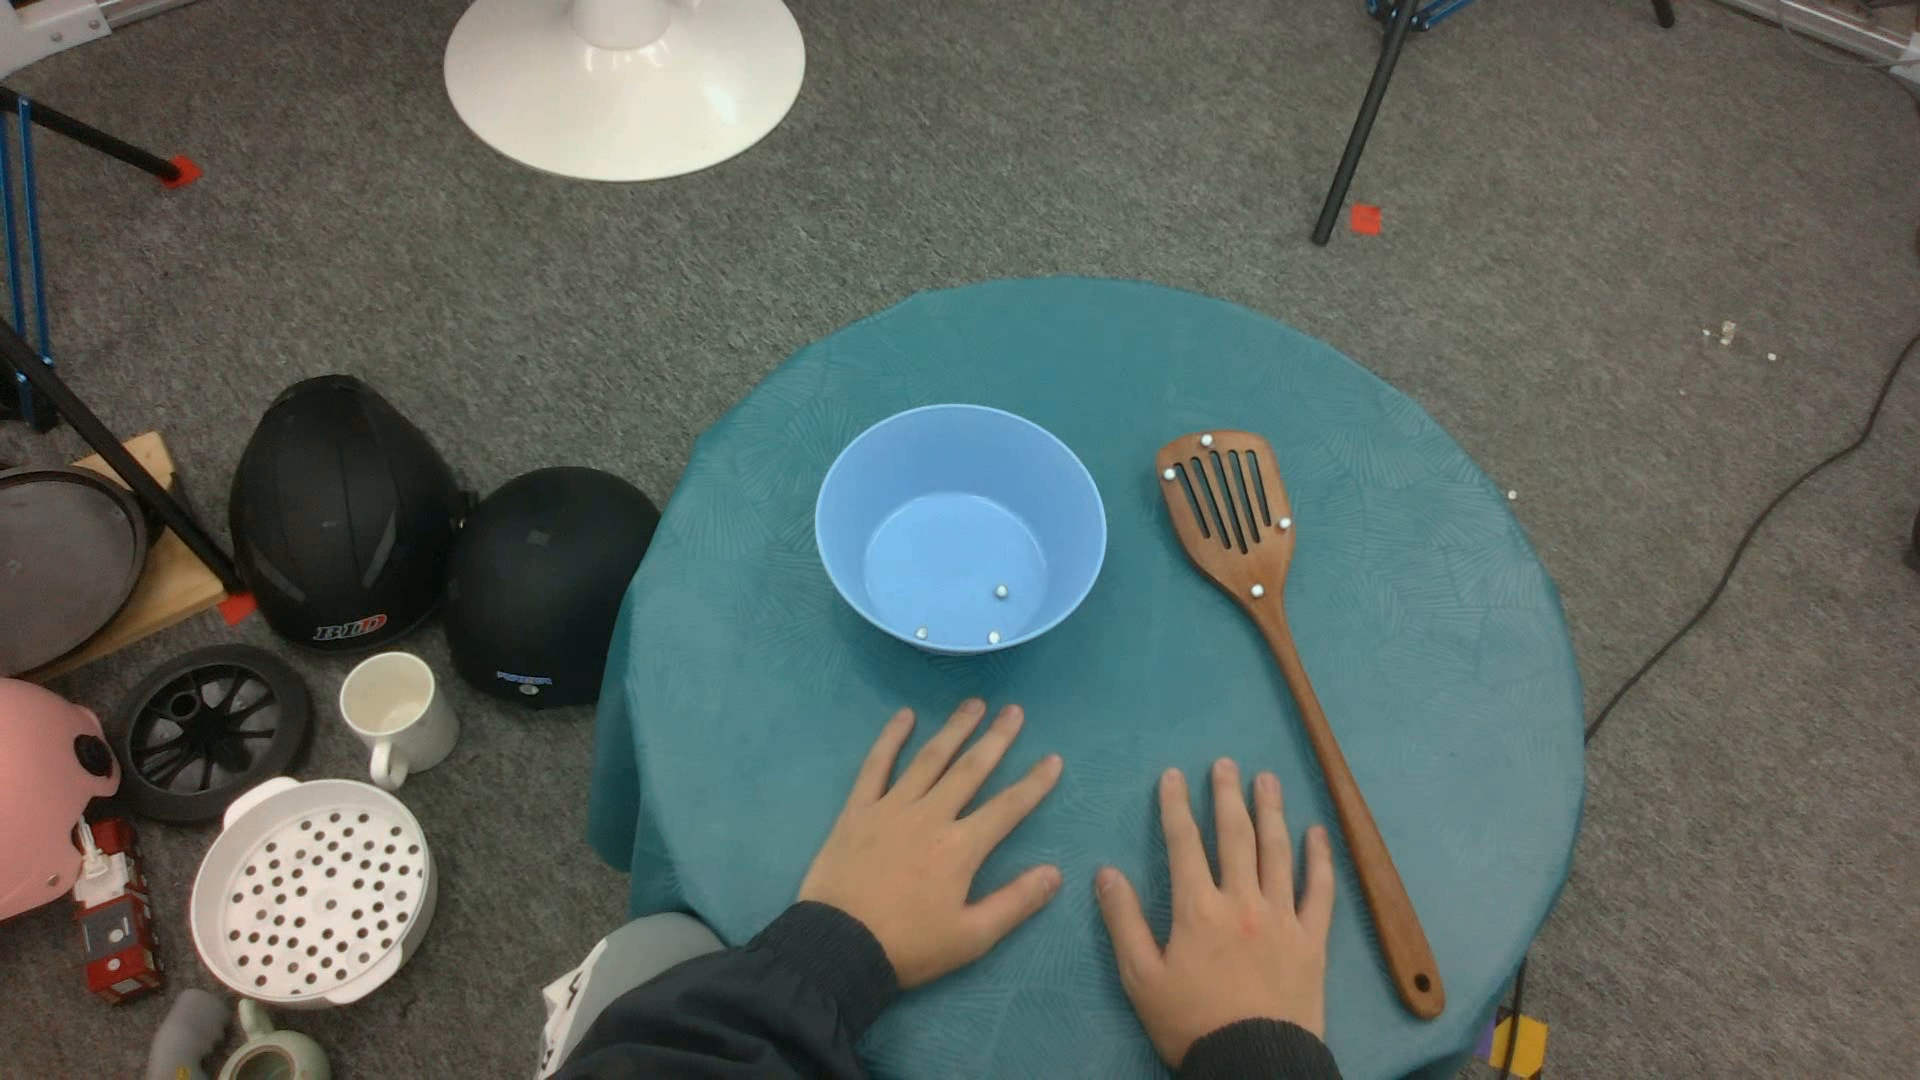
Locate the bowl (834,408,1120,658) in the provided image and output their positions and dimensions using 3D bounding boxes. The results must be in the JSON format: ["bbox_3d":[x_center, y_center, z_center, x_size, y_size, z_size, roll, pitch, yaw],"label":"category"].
[{"bbox_3d":[0.010,0.007,0.865,0.176,0.070,0.177,1,59,-2],"label":"bowl"}]

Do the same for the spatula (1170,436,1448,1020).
[{"bbox_3d":[0.219,0.099,0.851,0.085,0.024,0.388,-9,60,-9],"label":"spatula"}]
